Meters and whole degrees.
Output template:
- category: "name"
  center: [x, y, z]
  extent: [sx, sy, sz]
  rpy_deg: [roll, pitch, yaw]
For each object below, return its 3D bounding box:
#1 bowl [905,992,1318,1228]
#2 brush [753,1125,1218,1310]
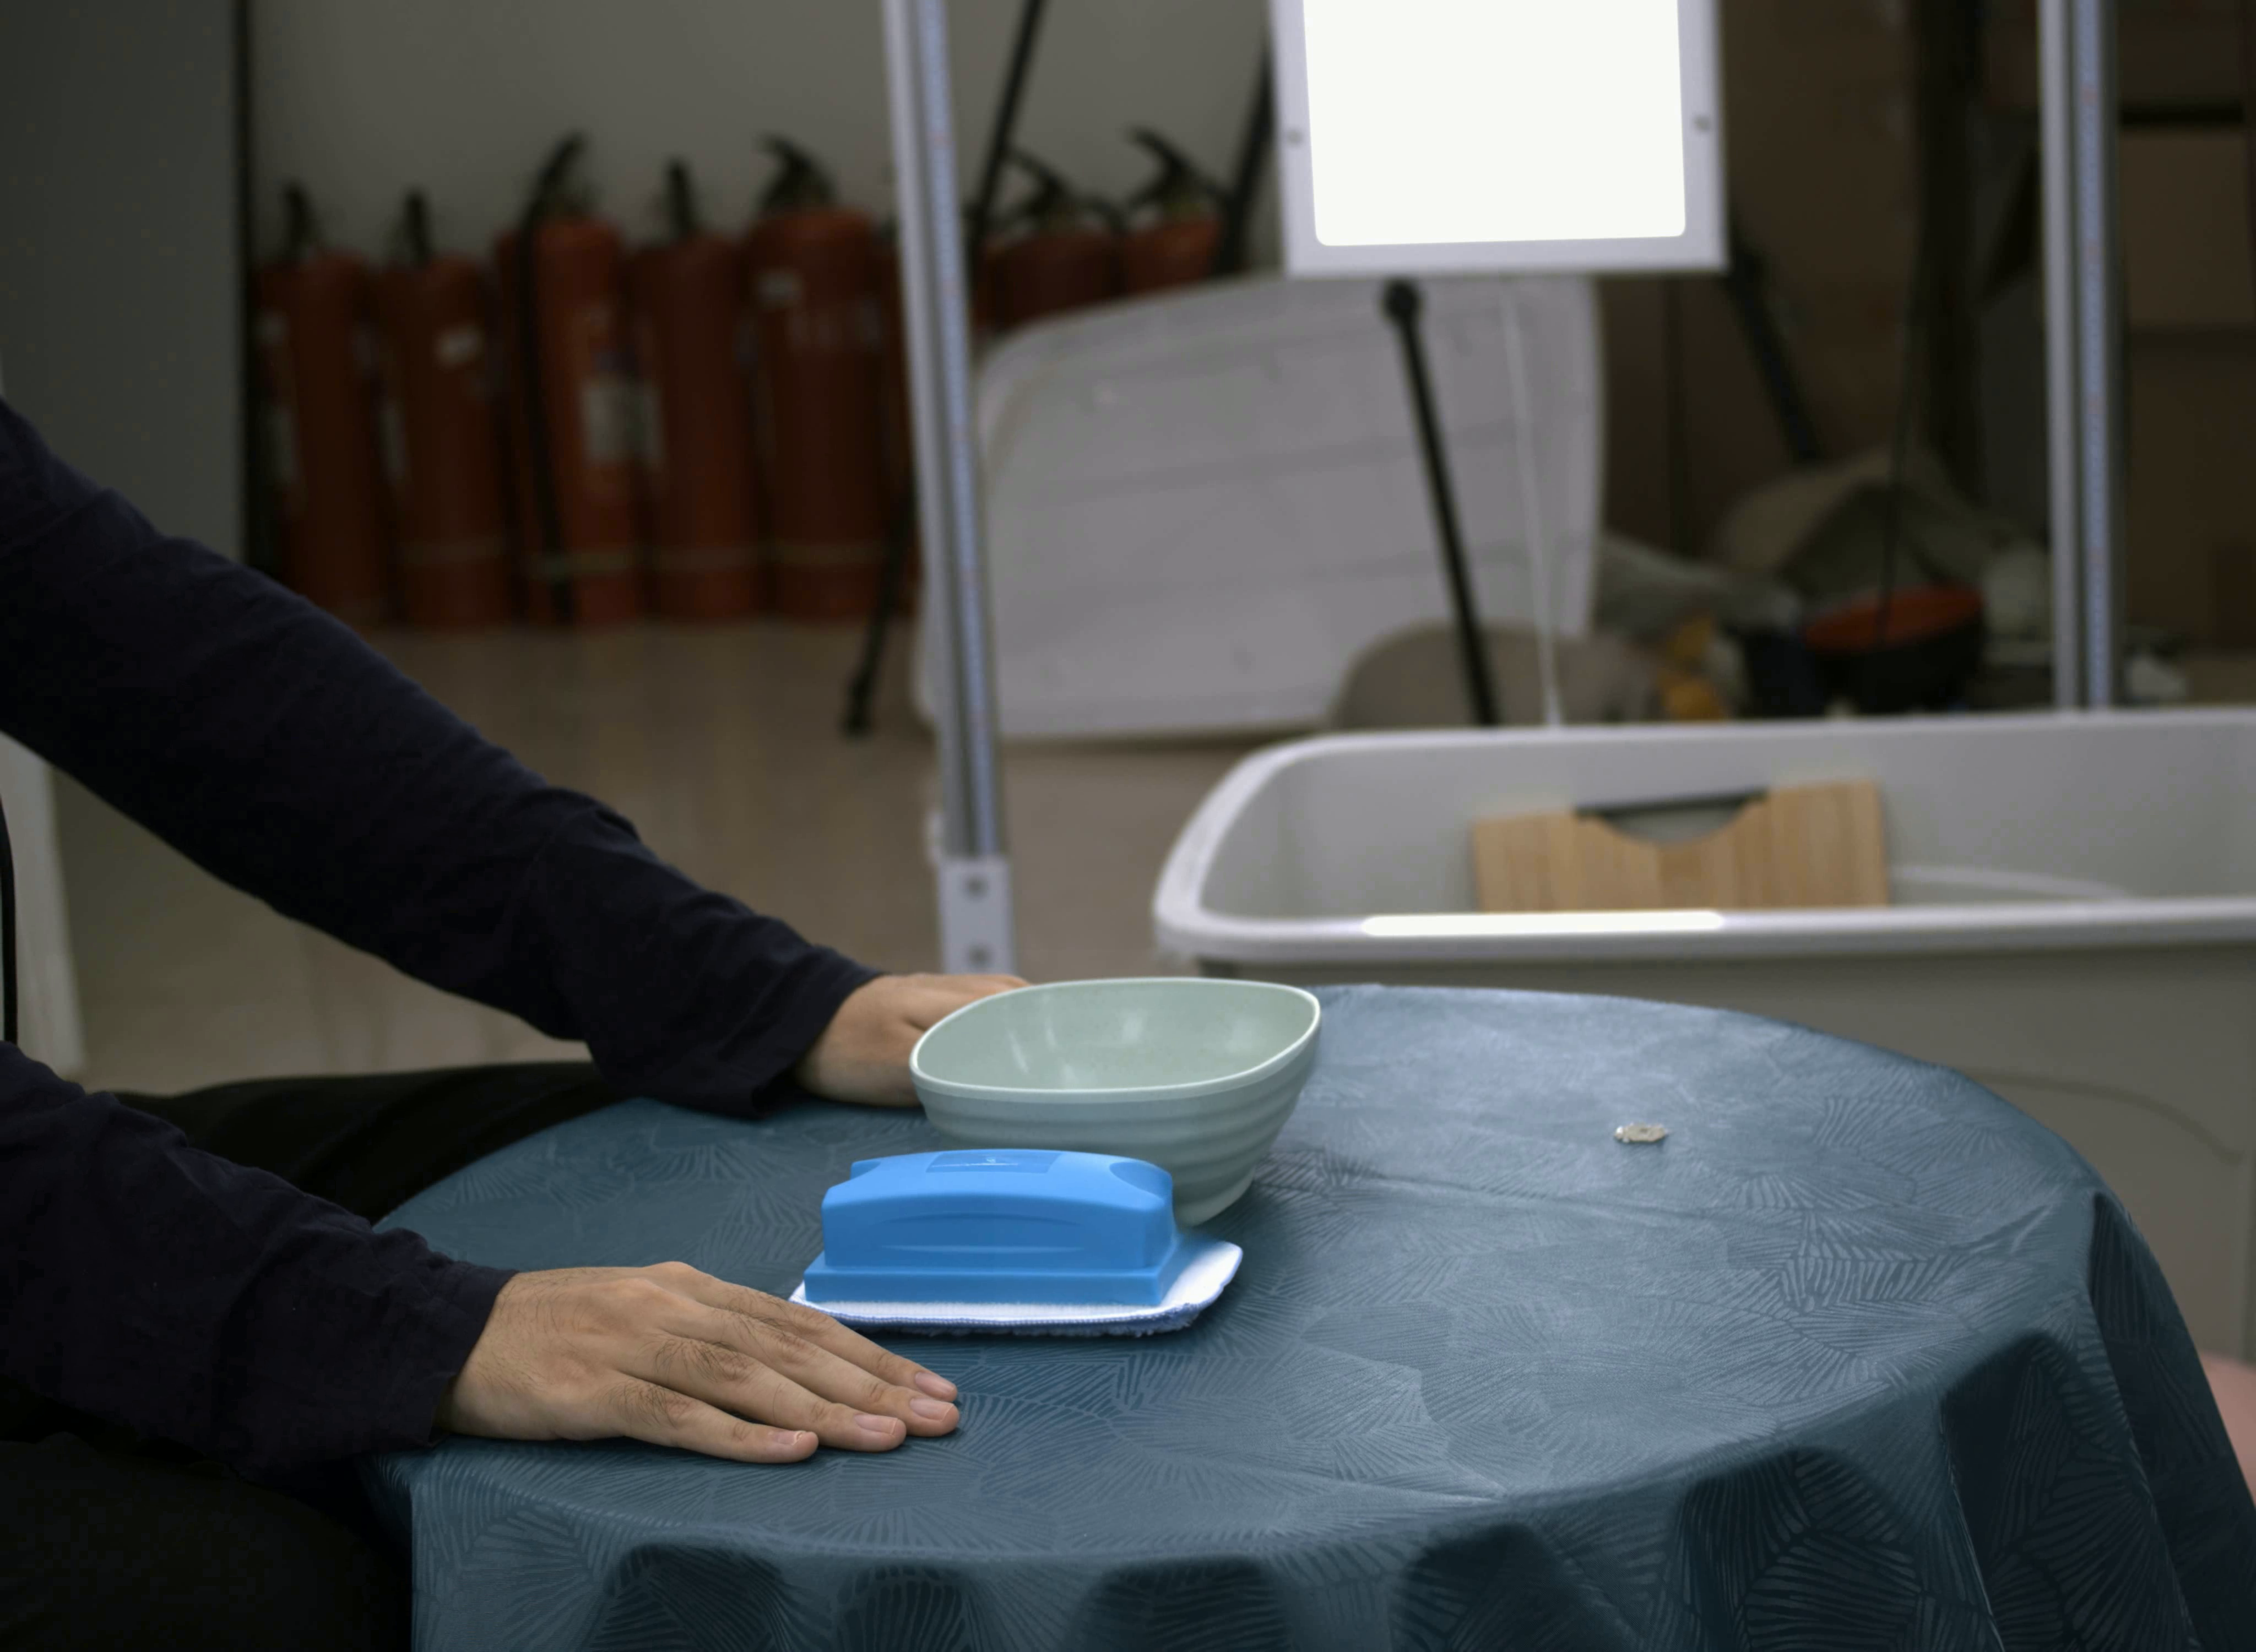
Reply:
- category: "bowl"
  center: [-0.003, 0.100, 1.893]
  extent: [0.151, 0.059, 0.151]
  rpy_deg: [-4, 11, 0]
- category: "brush"
  center: [-0.046, 0.127, 1.786]
  extent: [0.146, 0.056, 0.082]
  rpy_deg: [2, 12, 19]
